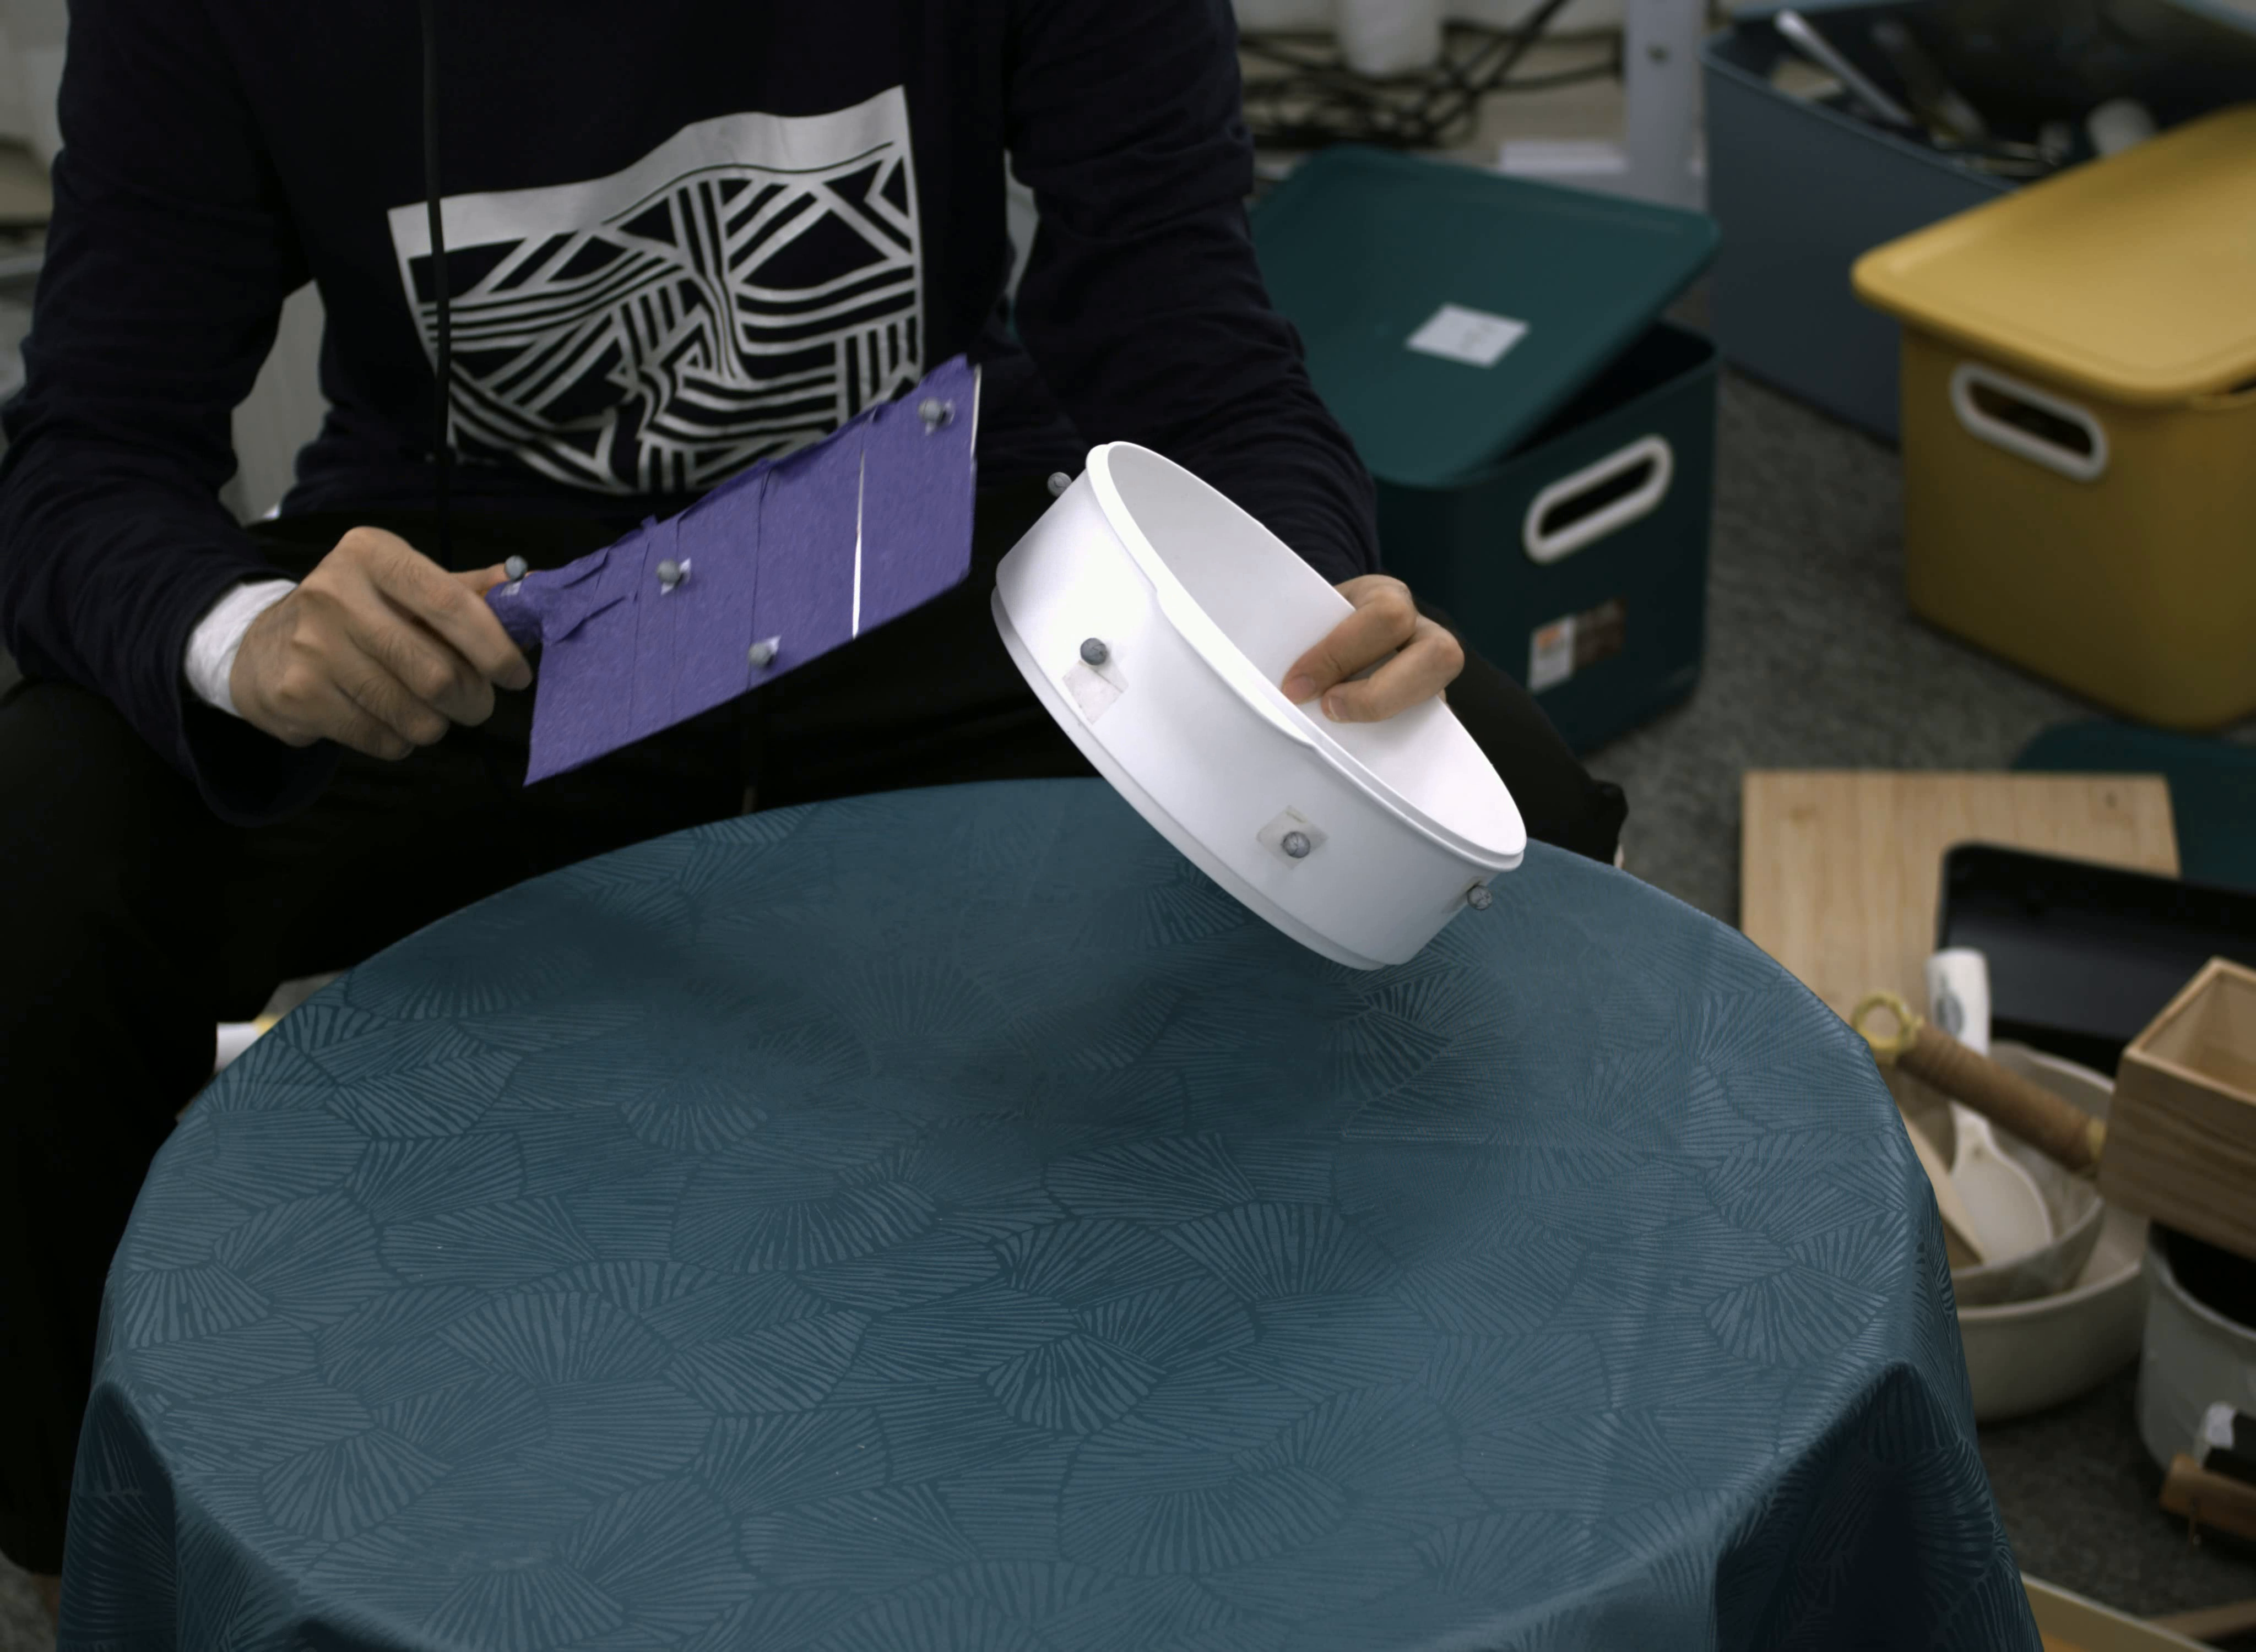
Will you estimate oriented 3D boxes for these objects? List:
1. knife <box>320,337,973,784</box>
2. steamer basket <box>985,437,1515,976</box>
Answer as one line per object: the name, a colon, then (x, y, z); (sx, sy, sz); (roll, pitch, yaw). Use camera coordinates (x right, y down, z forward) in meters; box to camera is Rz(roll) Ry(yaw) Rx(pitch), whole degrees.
knife: (-0.170, -0.069, 1.929); (0.310, 0.032, 0.106); (-26, 46, 35)
steamer basket: (0.039, -0.037, 1.892); (0.202, 0.069, 0.231); (48, 11, 9)
